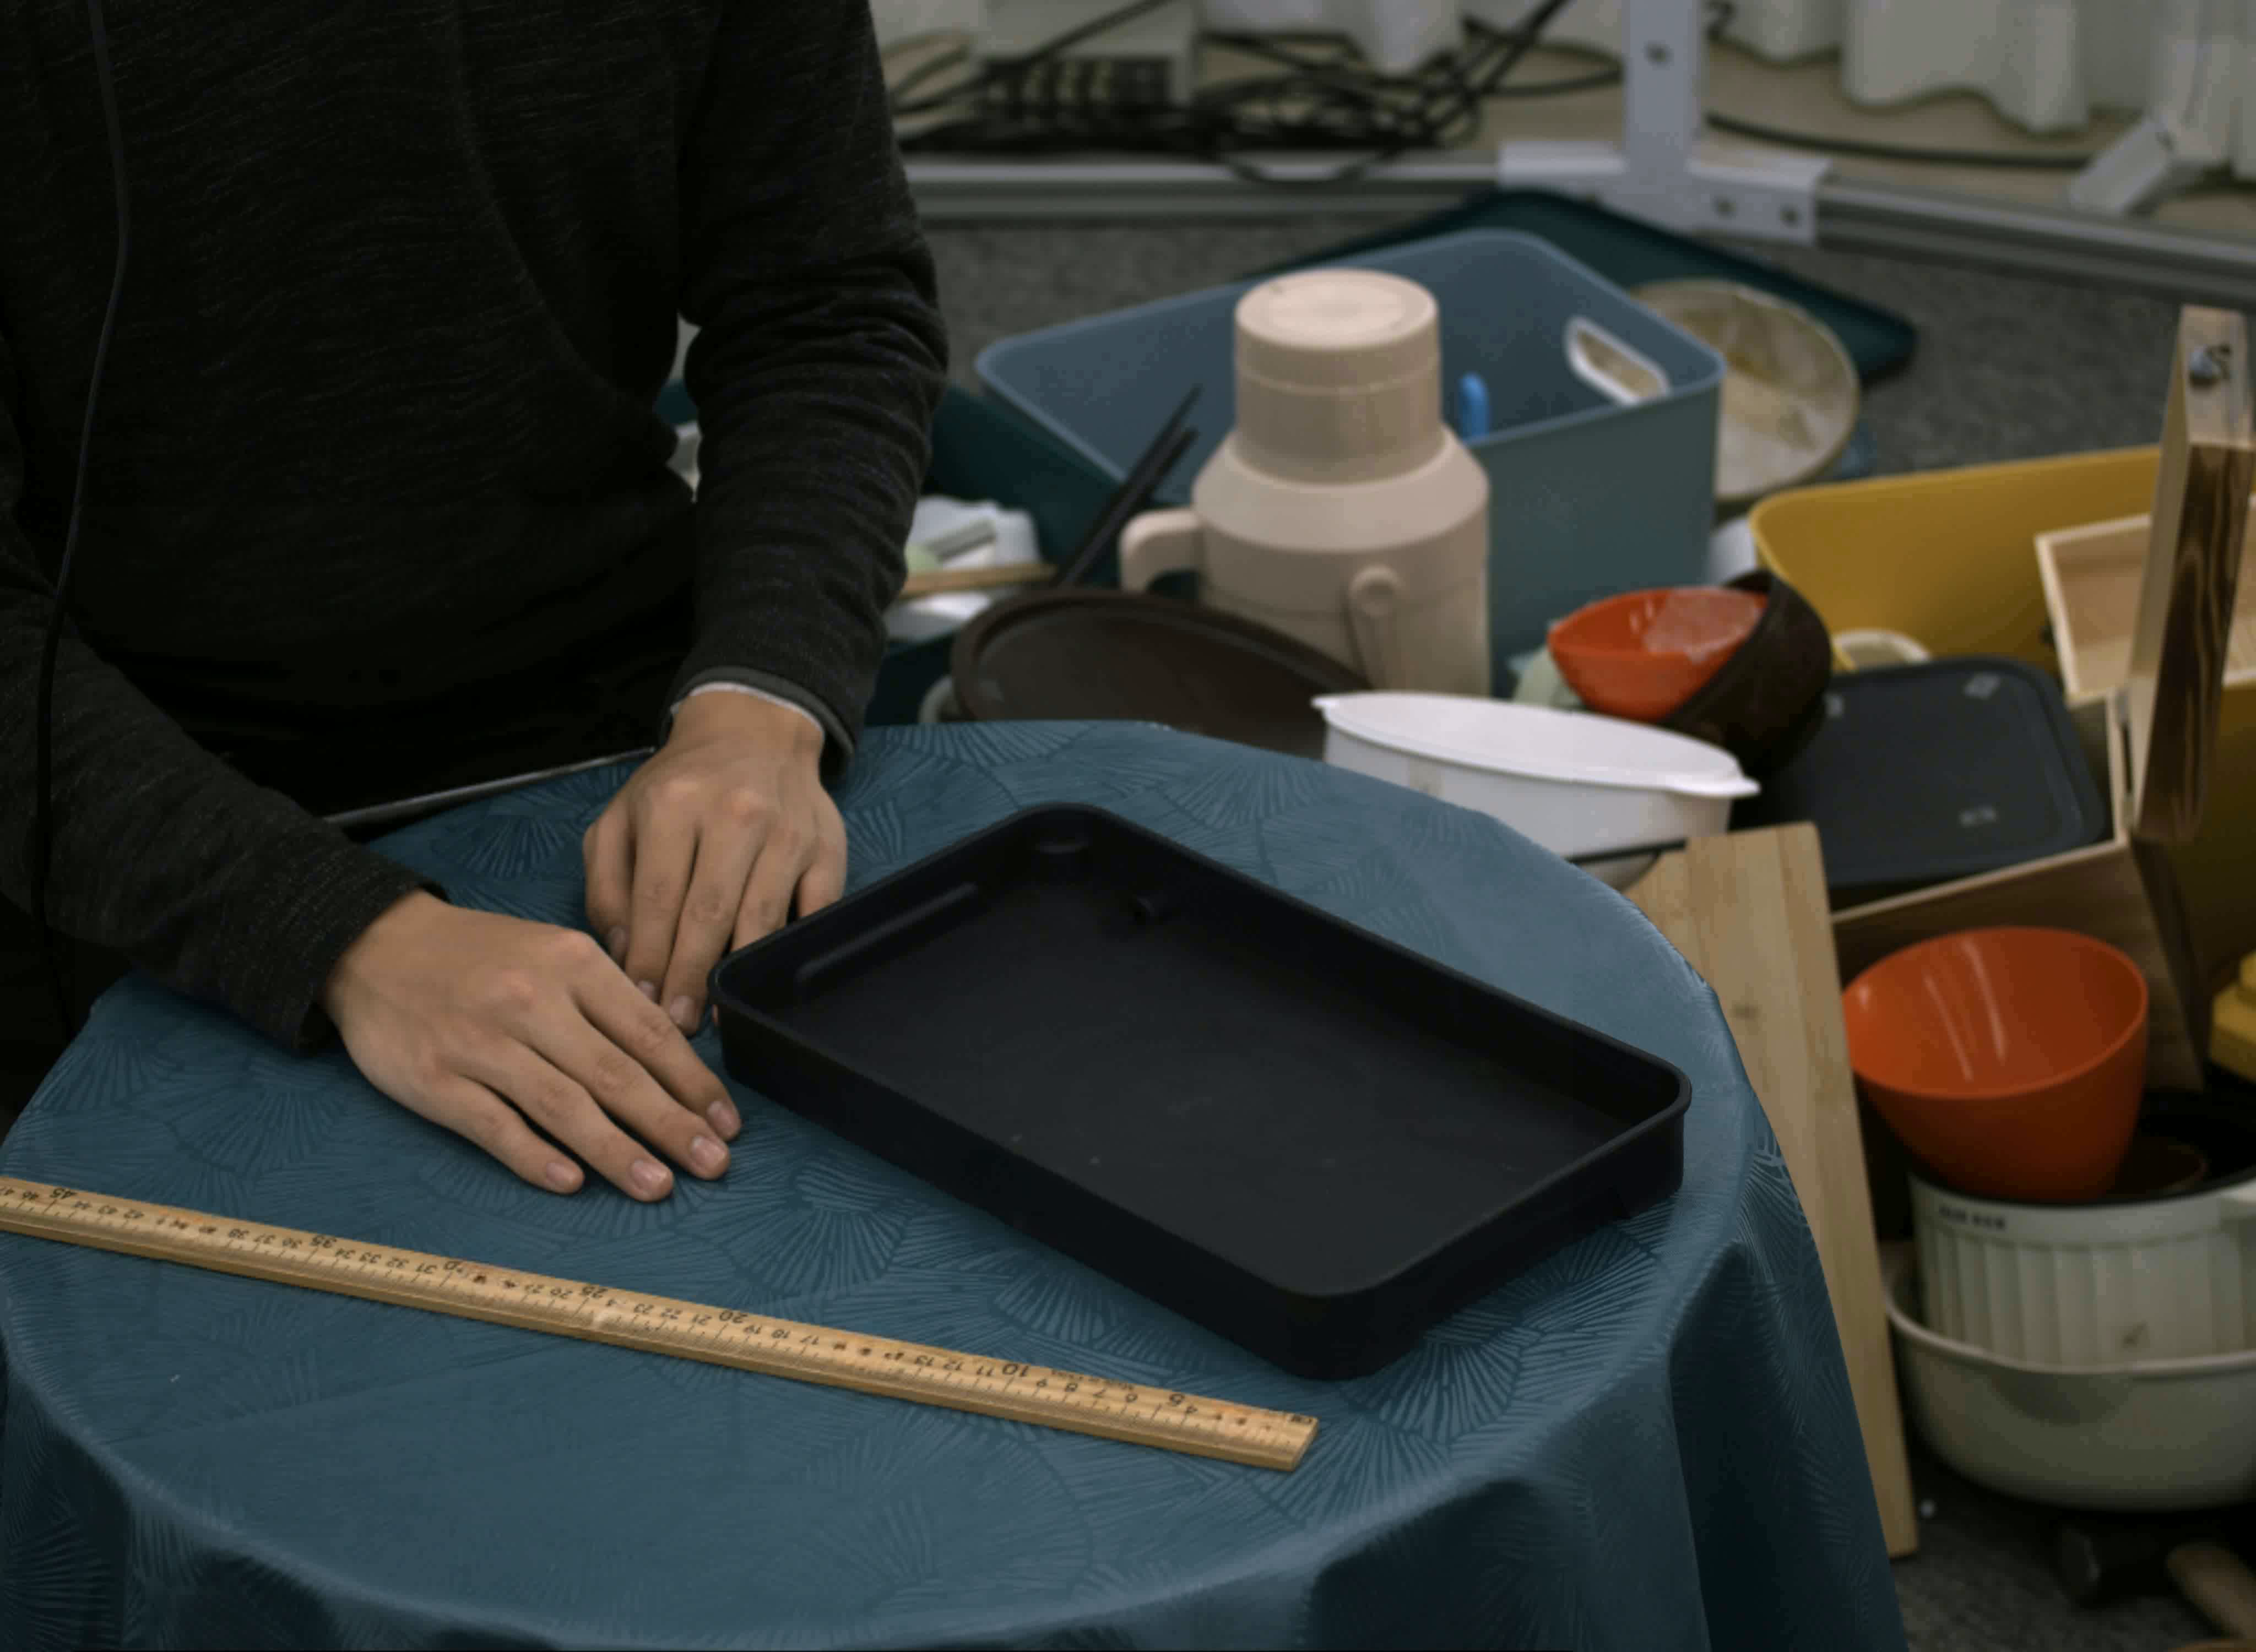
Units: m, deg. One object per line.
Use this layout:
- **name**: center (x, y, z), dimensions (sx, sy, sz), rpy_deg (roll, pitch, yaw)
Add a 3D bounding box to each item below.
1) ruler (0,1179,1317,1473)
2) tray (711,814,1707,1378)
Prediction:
- **ruler**: center (-0.175, 0.157, 1.804), dimensions (0.497, 0.006, 0.027), rpy_deg (8, 27, 21)
- **tray**: center (0.024, 0.085, 1.891), dimensions (0.317, 0.036, 0.186), rpy_deg (22, 36, 40)
